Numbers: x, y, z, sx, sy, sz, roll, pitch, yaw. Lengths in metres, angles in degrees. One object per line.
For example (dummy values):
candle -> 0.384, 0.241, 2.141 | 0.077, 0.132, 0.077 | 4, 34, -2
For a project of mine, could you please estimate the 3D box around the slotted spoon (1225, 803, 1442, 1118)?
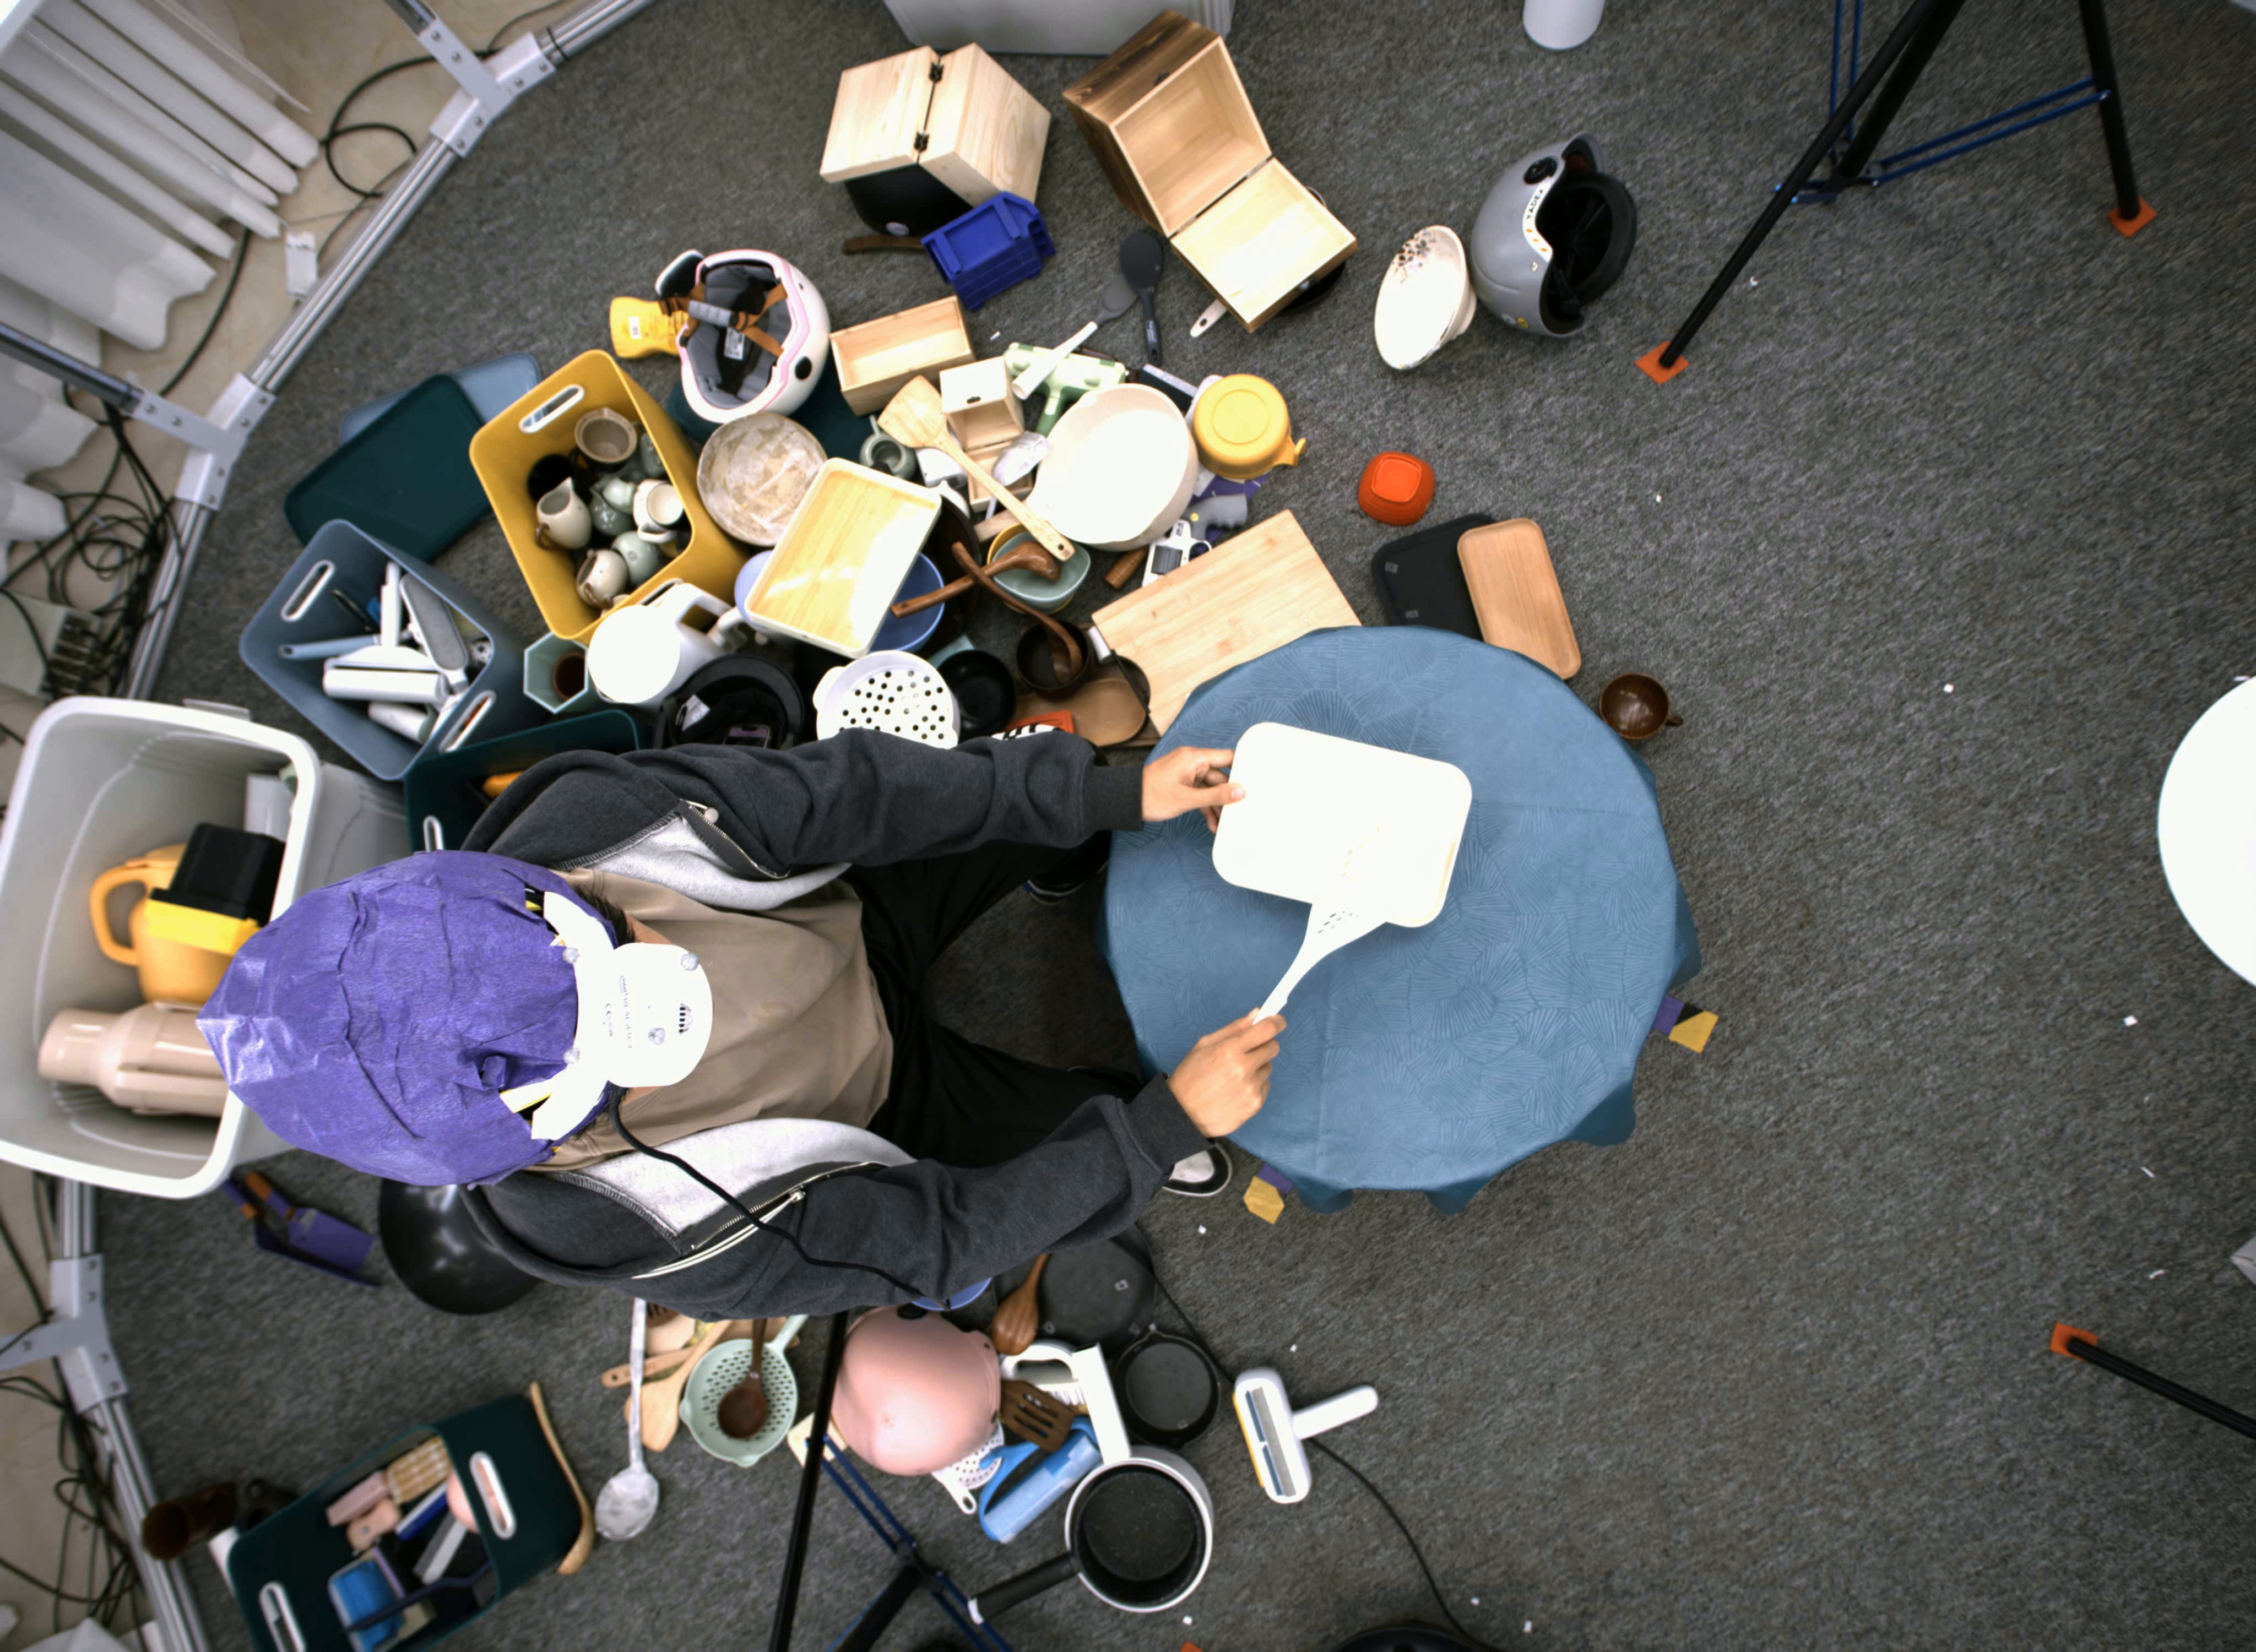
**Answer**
slotted spoon -> 0.185, 0.126, 1.330 | 0.346, 0.136, 0.051 | -51, 122, -7

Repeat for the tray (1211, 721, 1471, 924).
tray -> 0.213, -0.005, 1.391 | 0.240, 0.017, 0.173 | 14, 103, 5
